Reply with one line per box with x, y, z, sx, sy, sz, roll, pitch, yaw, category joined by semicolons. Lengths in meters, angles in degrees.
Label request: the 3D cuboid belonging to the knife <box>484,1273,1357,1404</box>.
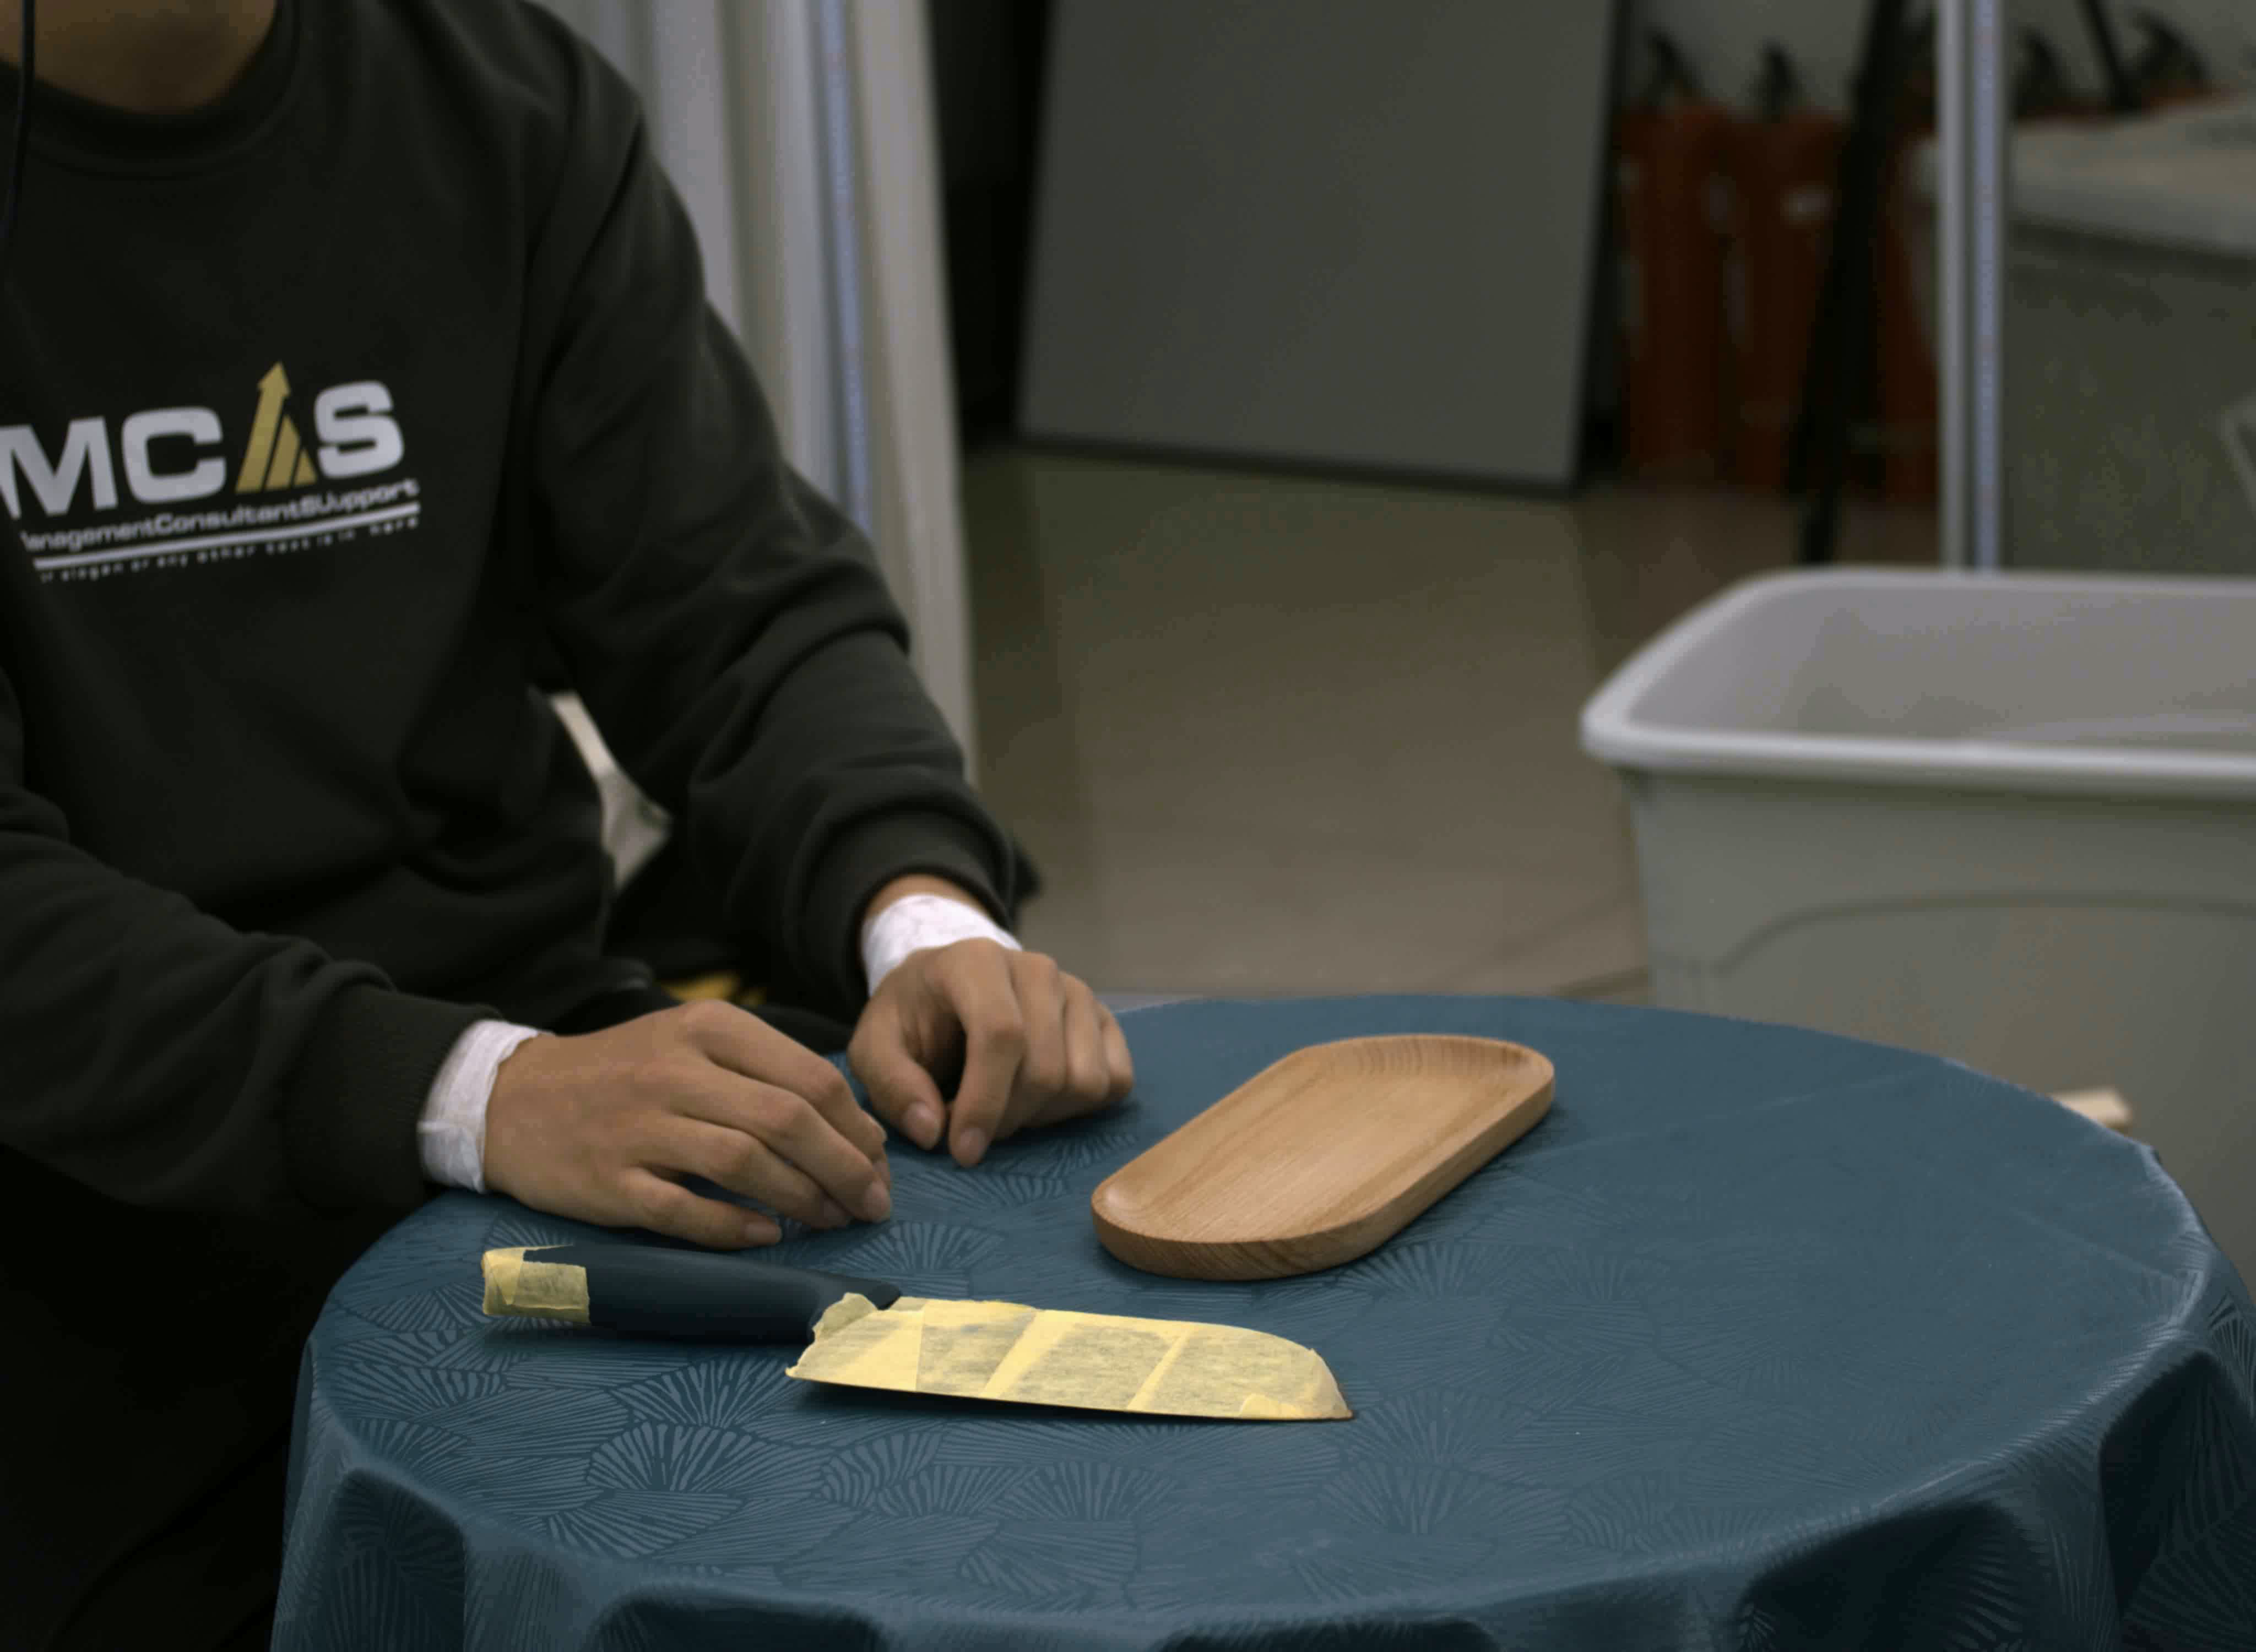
-0.068;0.157;1.617;0.289;0.027;0.080;2;13;21;knife

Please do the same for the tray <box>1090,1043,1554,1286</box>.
0.067;0.109;1.771;0.102;0.020;0.228;1;16;27;tray
